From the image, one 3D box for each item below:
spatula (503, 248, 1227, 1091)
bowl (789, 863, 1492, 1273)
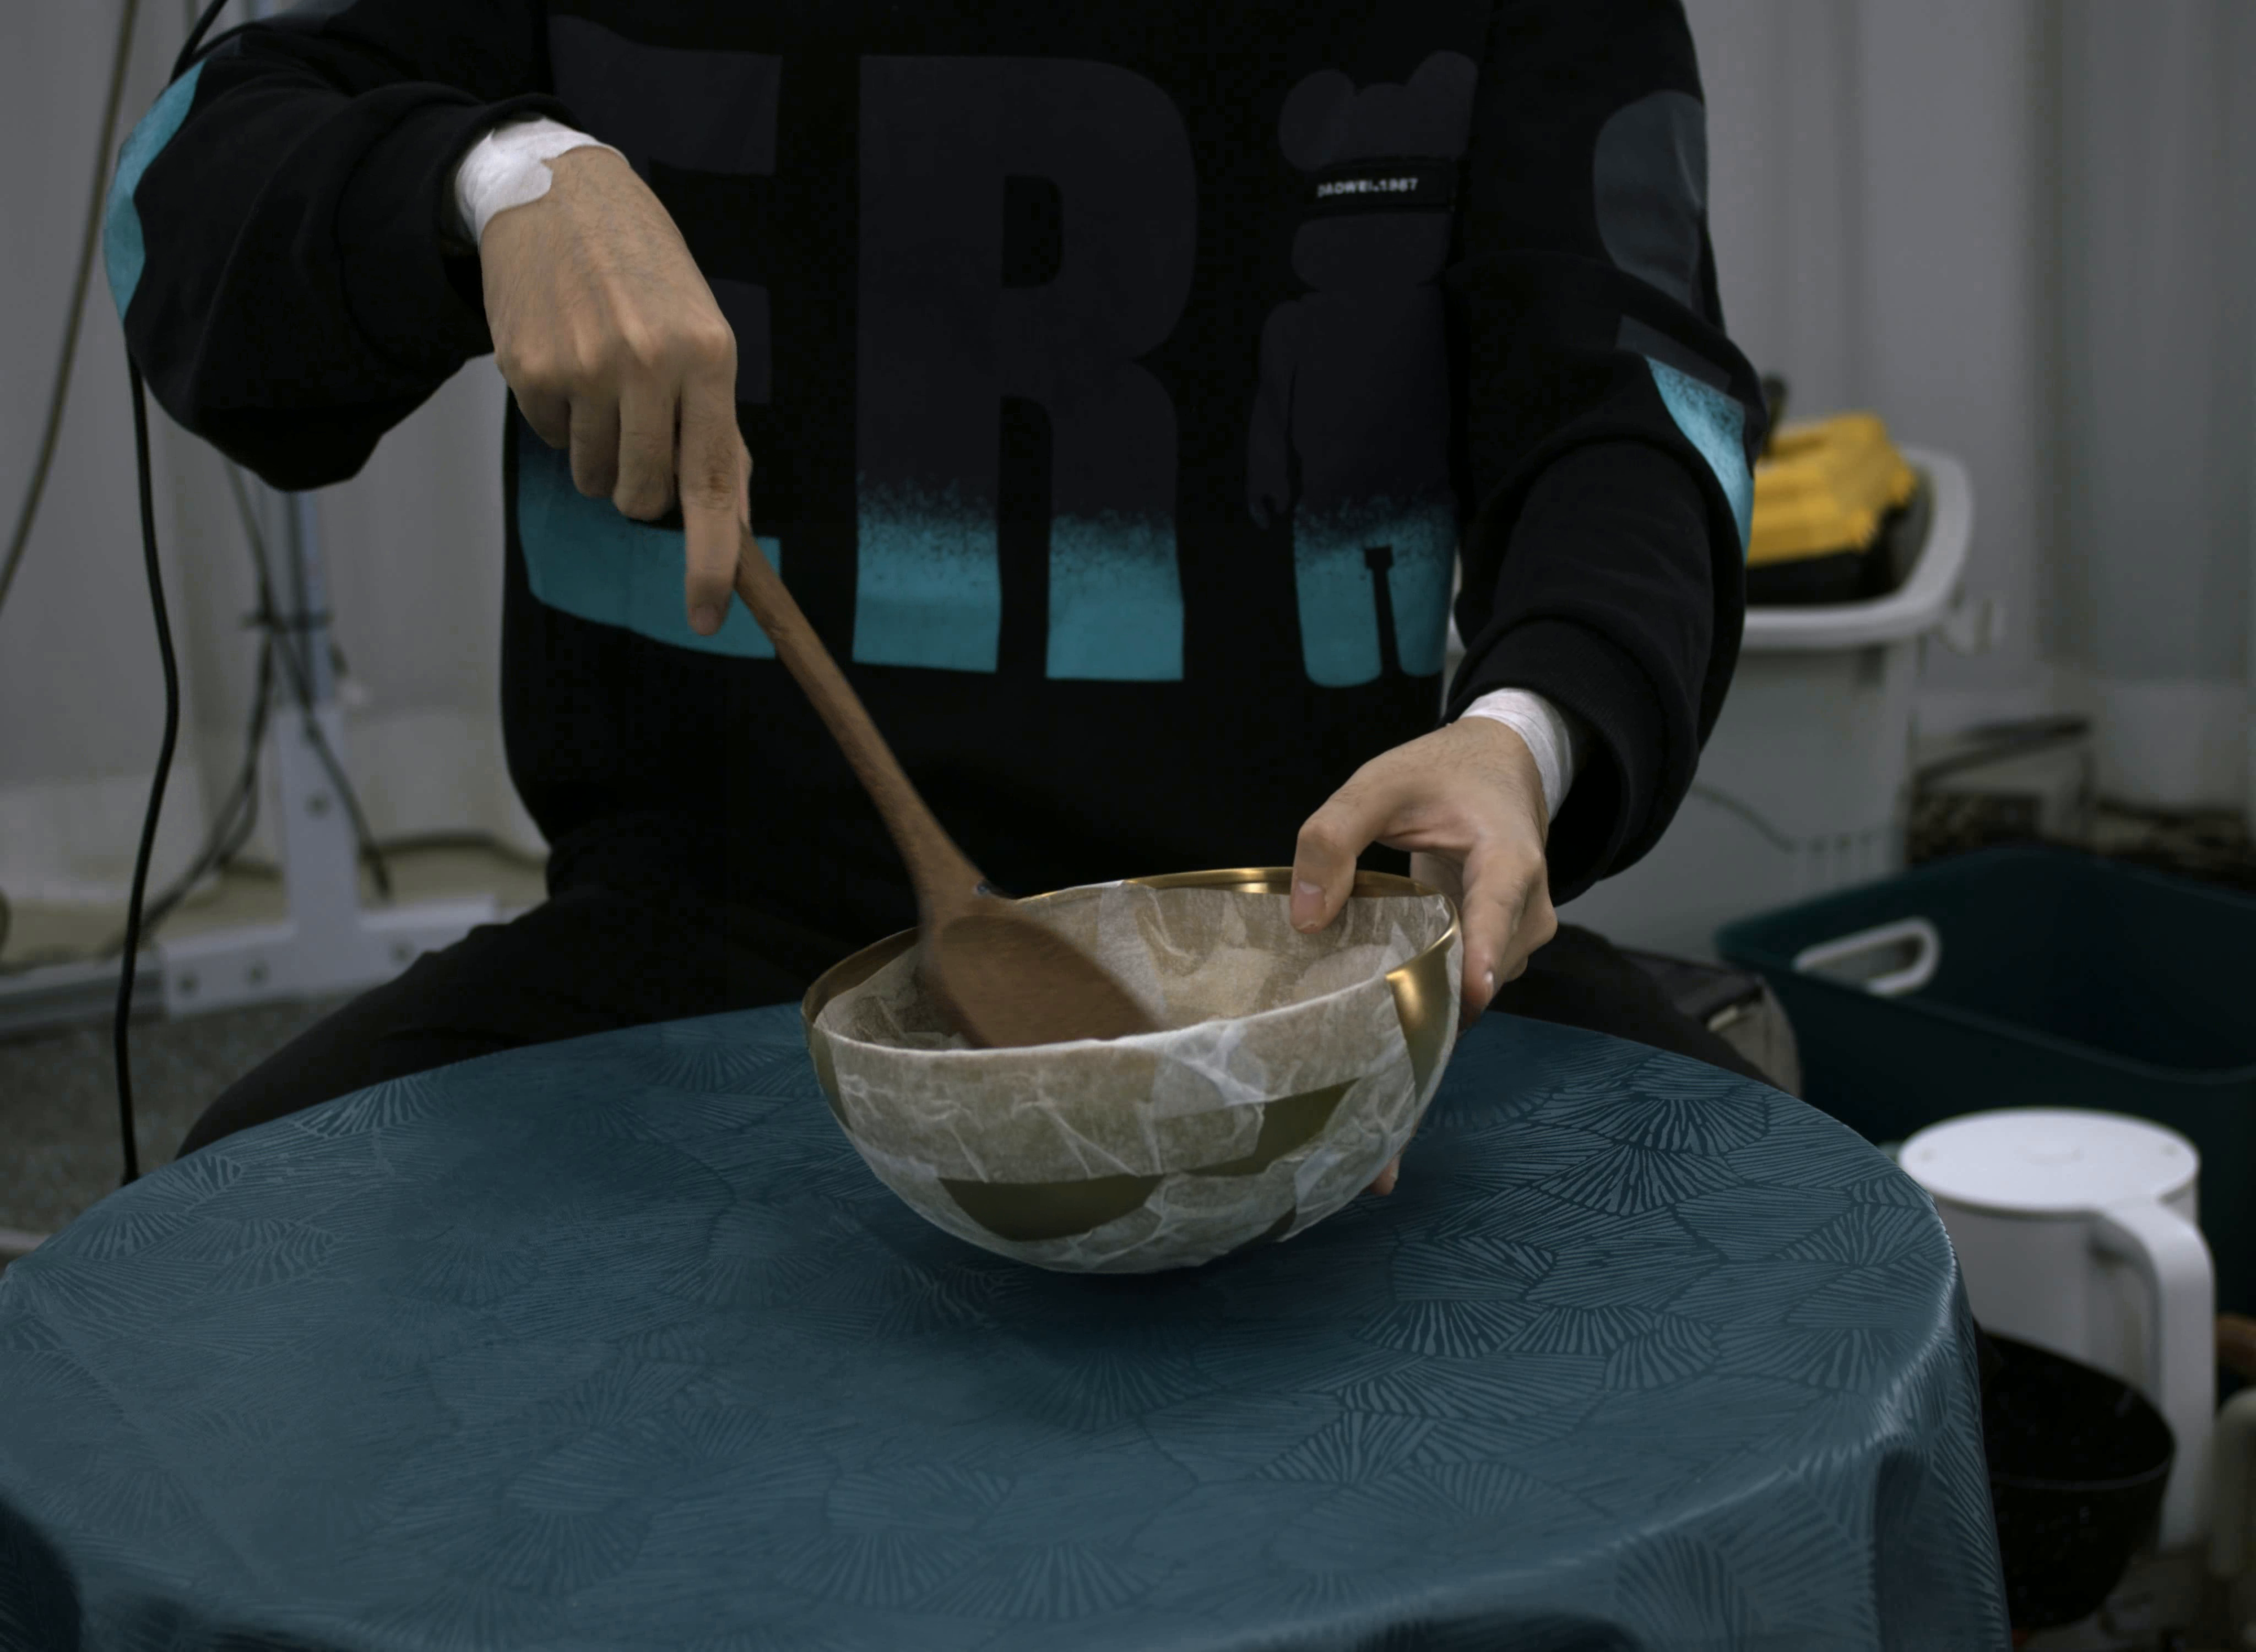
[{"bbox_3d":[-0.096,-0.050,1.741,0.095,0.015,0.390,-2,49,-52],"label":"spatula"},{"bbox_3d":[0.009,0.080,1.640,0.214,0.094,0.216,-9,10,1],"label":"bowl"}]
